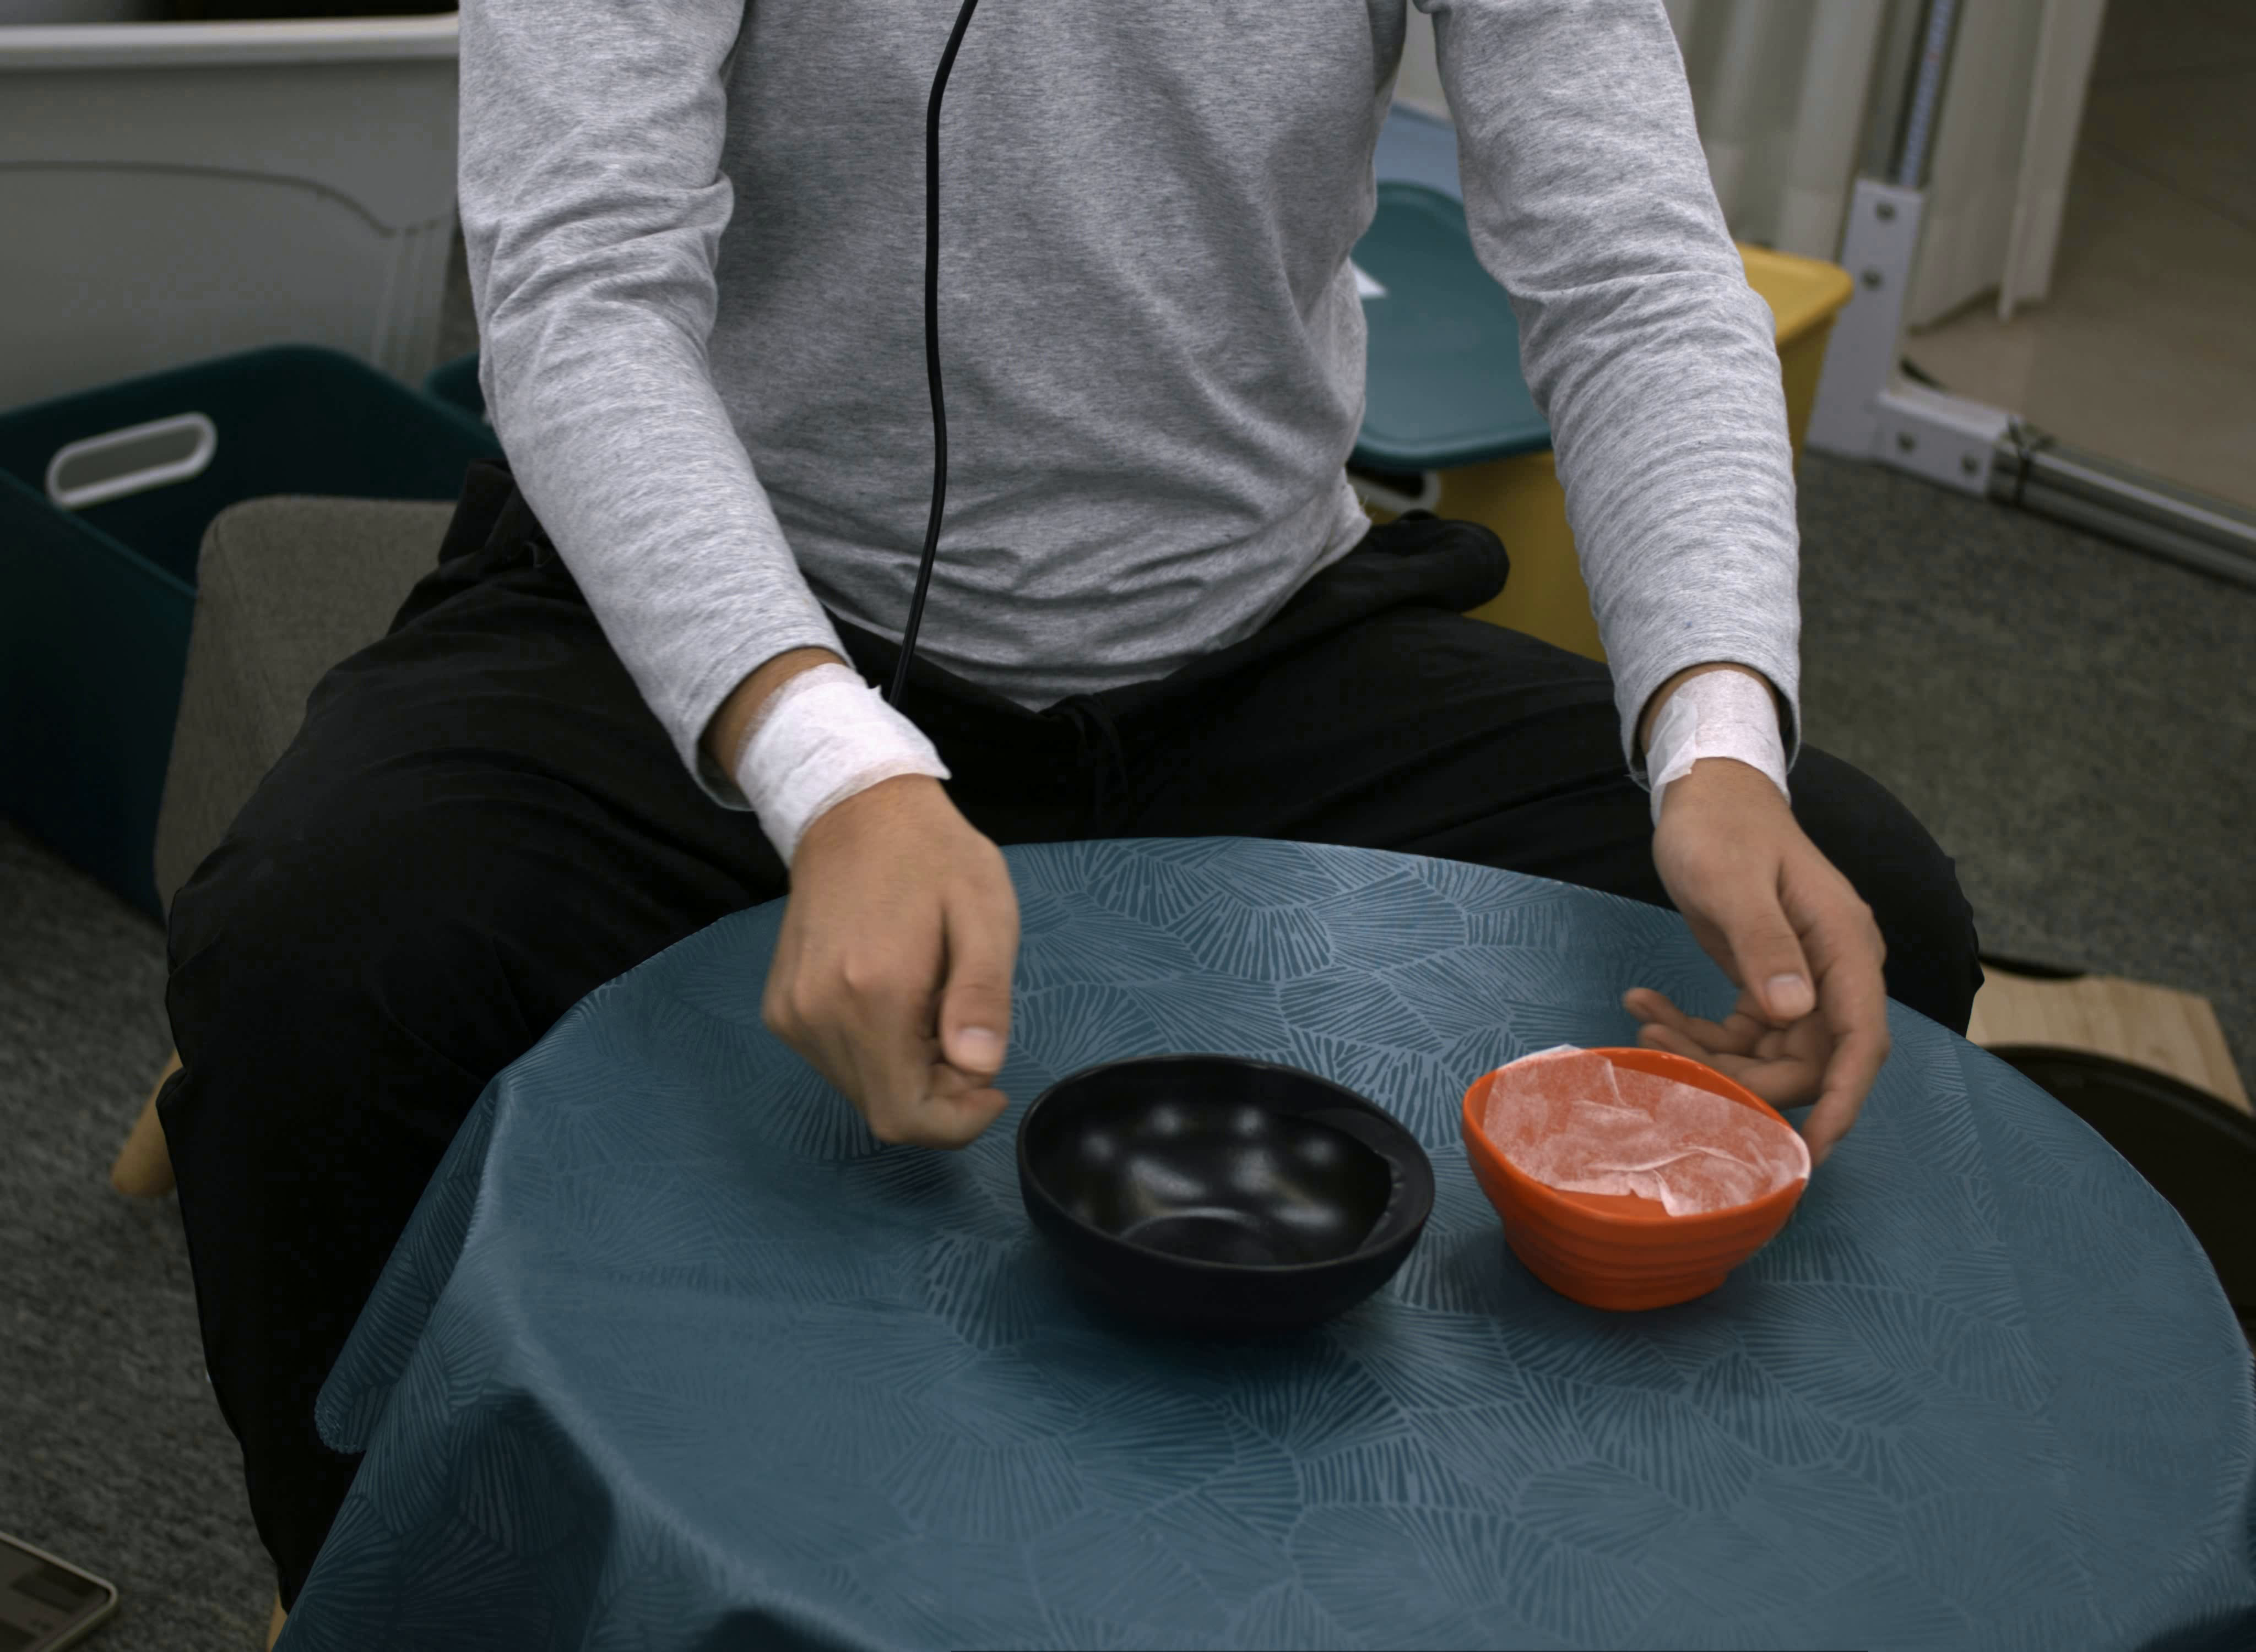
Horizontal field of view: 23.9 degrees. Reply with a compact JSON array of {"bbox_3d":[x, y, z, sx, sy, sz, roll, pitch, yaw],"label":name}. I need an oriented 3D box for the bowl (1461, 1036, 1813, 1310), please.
[{"bbox_3d":[0.168,0.121,1.789,0.118,0.051,0.119,5,29,-3],"label":"bowl"}]

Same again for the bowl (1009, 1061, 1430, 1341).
[{"bbox_3d":[0.028,0.130,1.748,0.139,0.049,0.141,5,24,-3],"label":"bowl"}]
